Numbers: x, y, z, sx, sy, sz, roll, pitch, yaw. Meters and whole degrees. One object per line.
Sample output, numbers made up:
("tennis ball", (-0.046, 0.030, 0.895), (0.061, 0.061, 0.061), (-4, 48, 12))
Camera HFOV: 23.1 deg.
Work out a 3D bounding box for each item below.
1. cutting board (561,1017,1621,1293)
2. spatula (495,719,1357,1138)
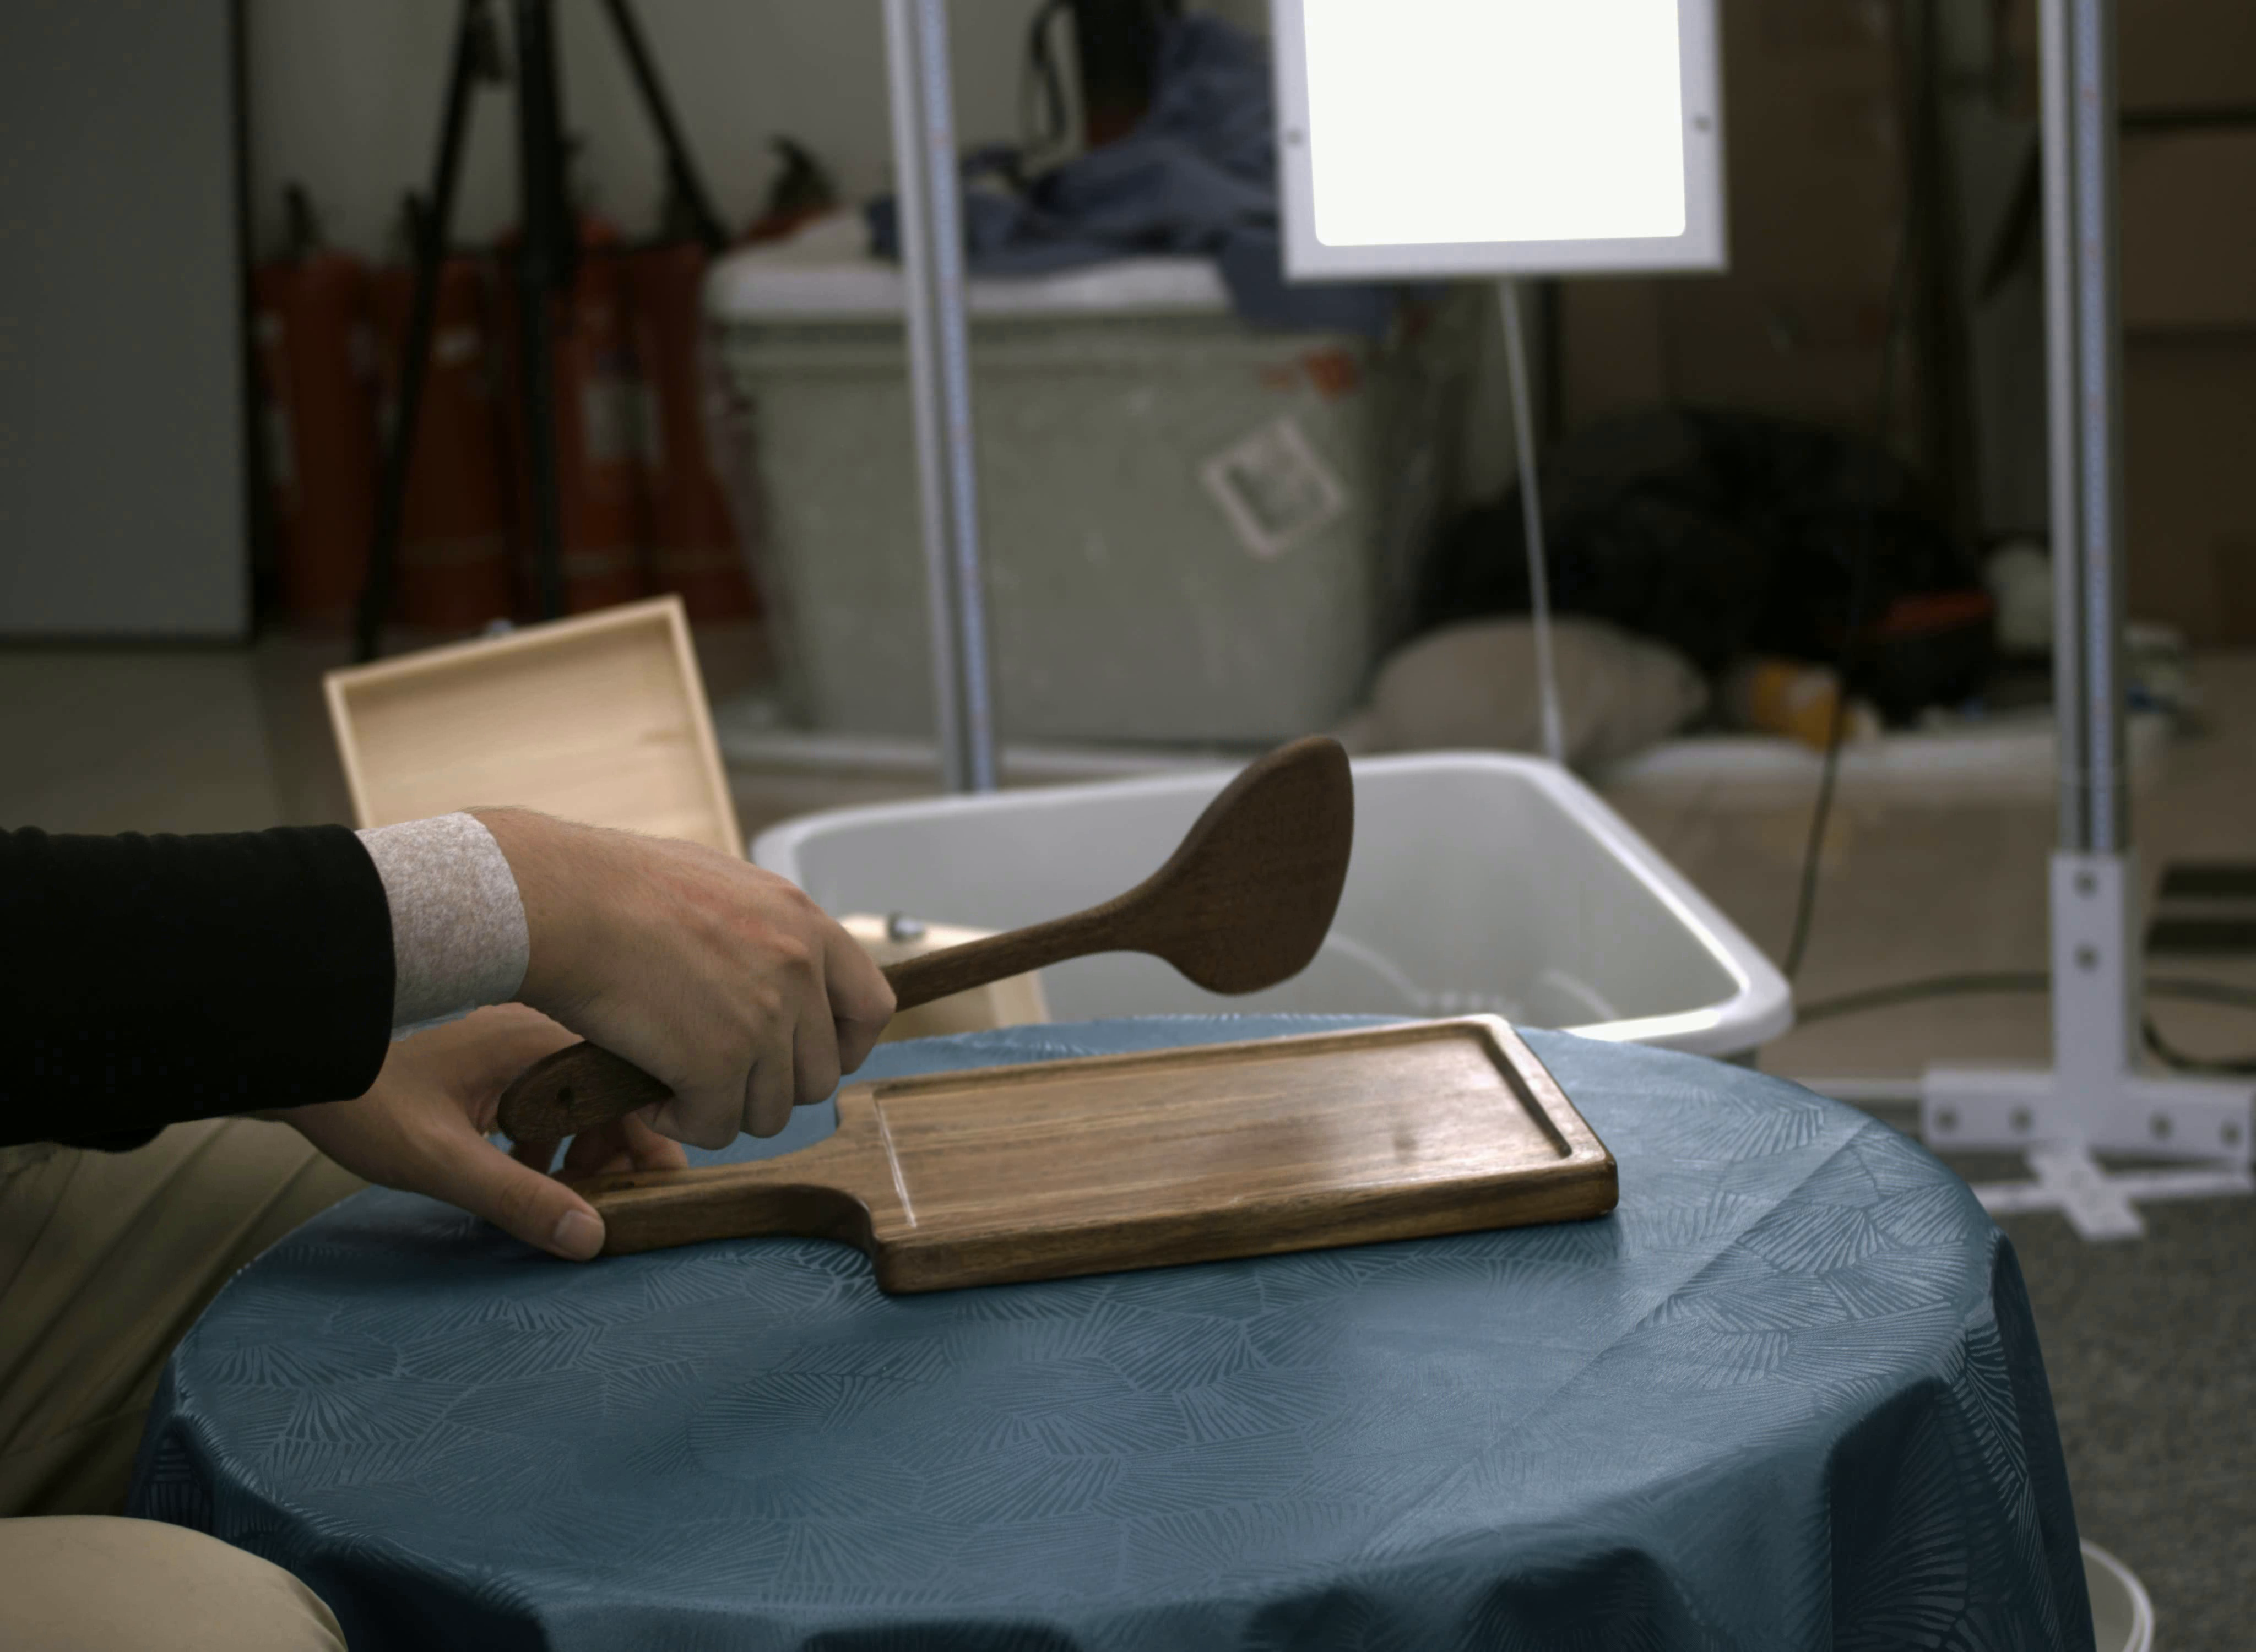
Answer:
("cutting board", (-0.021, 0.116, 1.904), (0.350, 0.023, 0.201), (-6, 13, -4))
("spatula", (-0.059, 0.045, 1.841), (0.376, 0.097, 0.016), (-17, 31, -38))
